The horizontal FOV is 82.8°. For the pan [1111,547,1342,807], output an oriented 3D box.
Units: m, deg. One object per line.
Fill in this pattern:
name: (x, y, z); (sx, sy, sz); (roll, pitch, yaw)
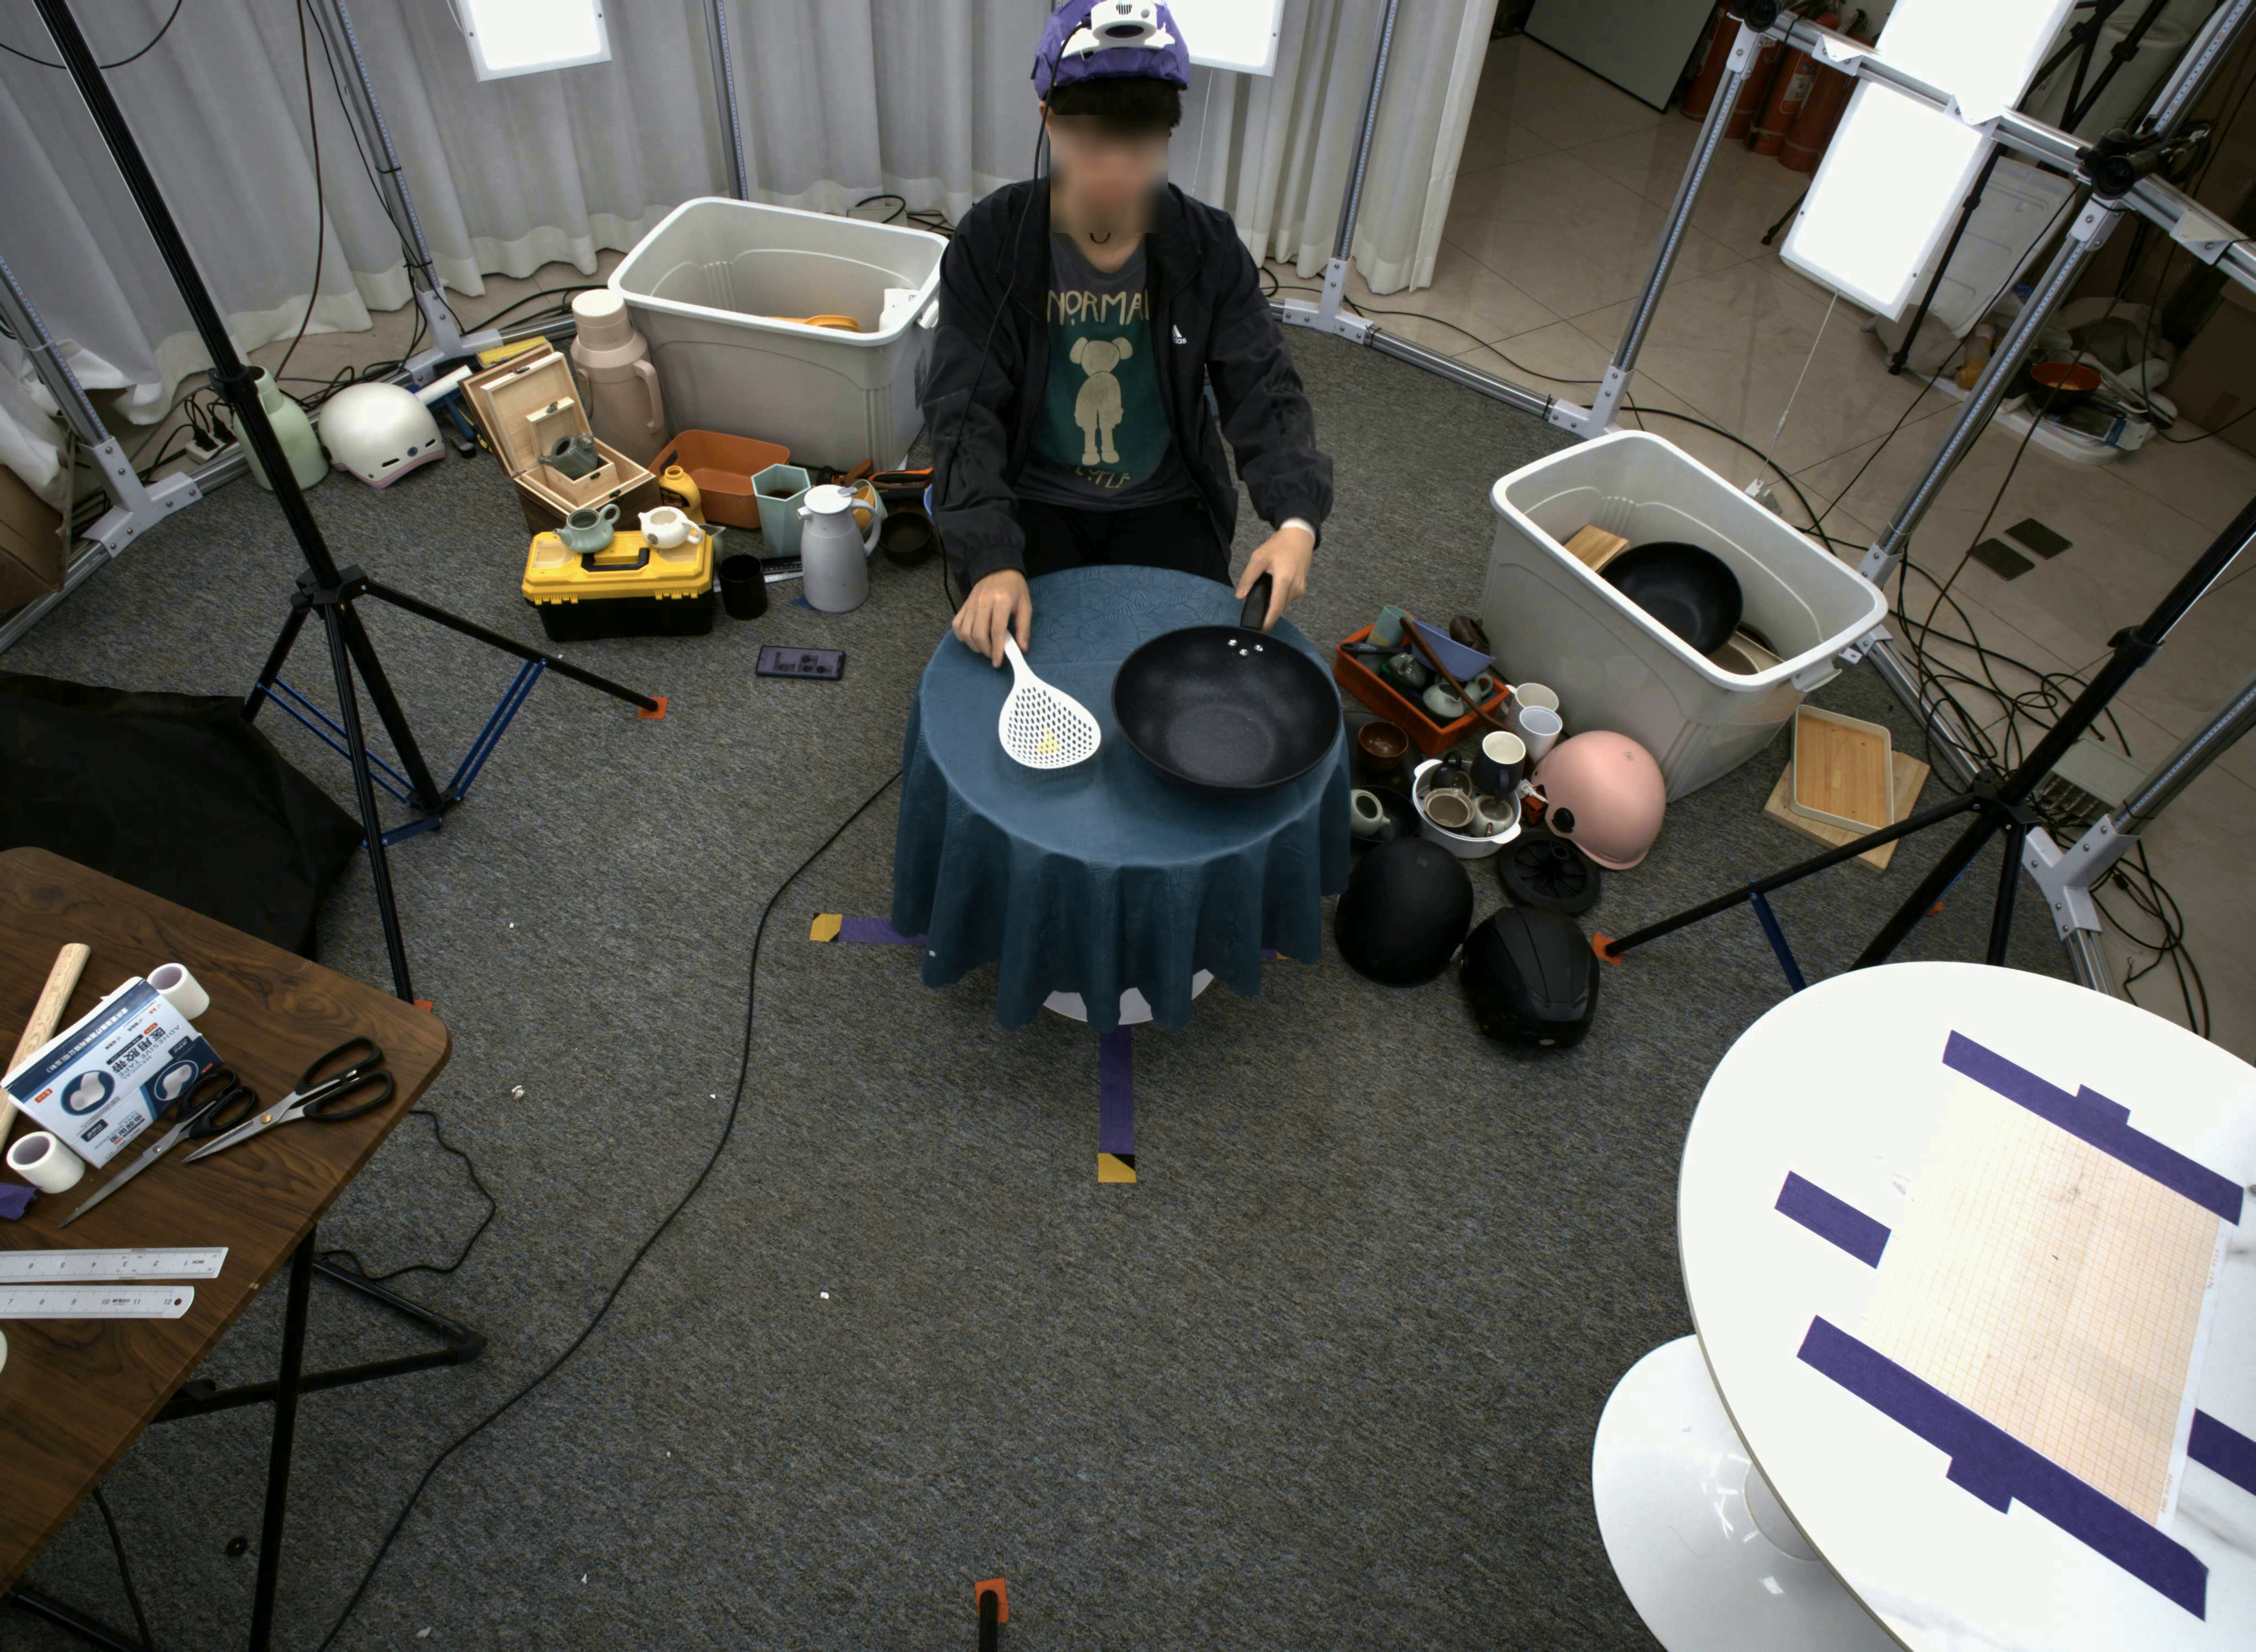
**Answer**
pan: (0.150, -0.202, 1.783); (0.311, 0.109, 0.487); (13, 50, 6)

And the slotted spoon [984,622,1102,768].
slotted spoon: (-0.142, -0.195, 1.801); (0.137, 0.049, 0.356); (-13, 50, -14)
